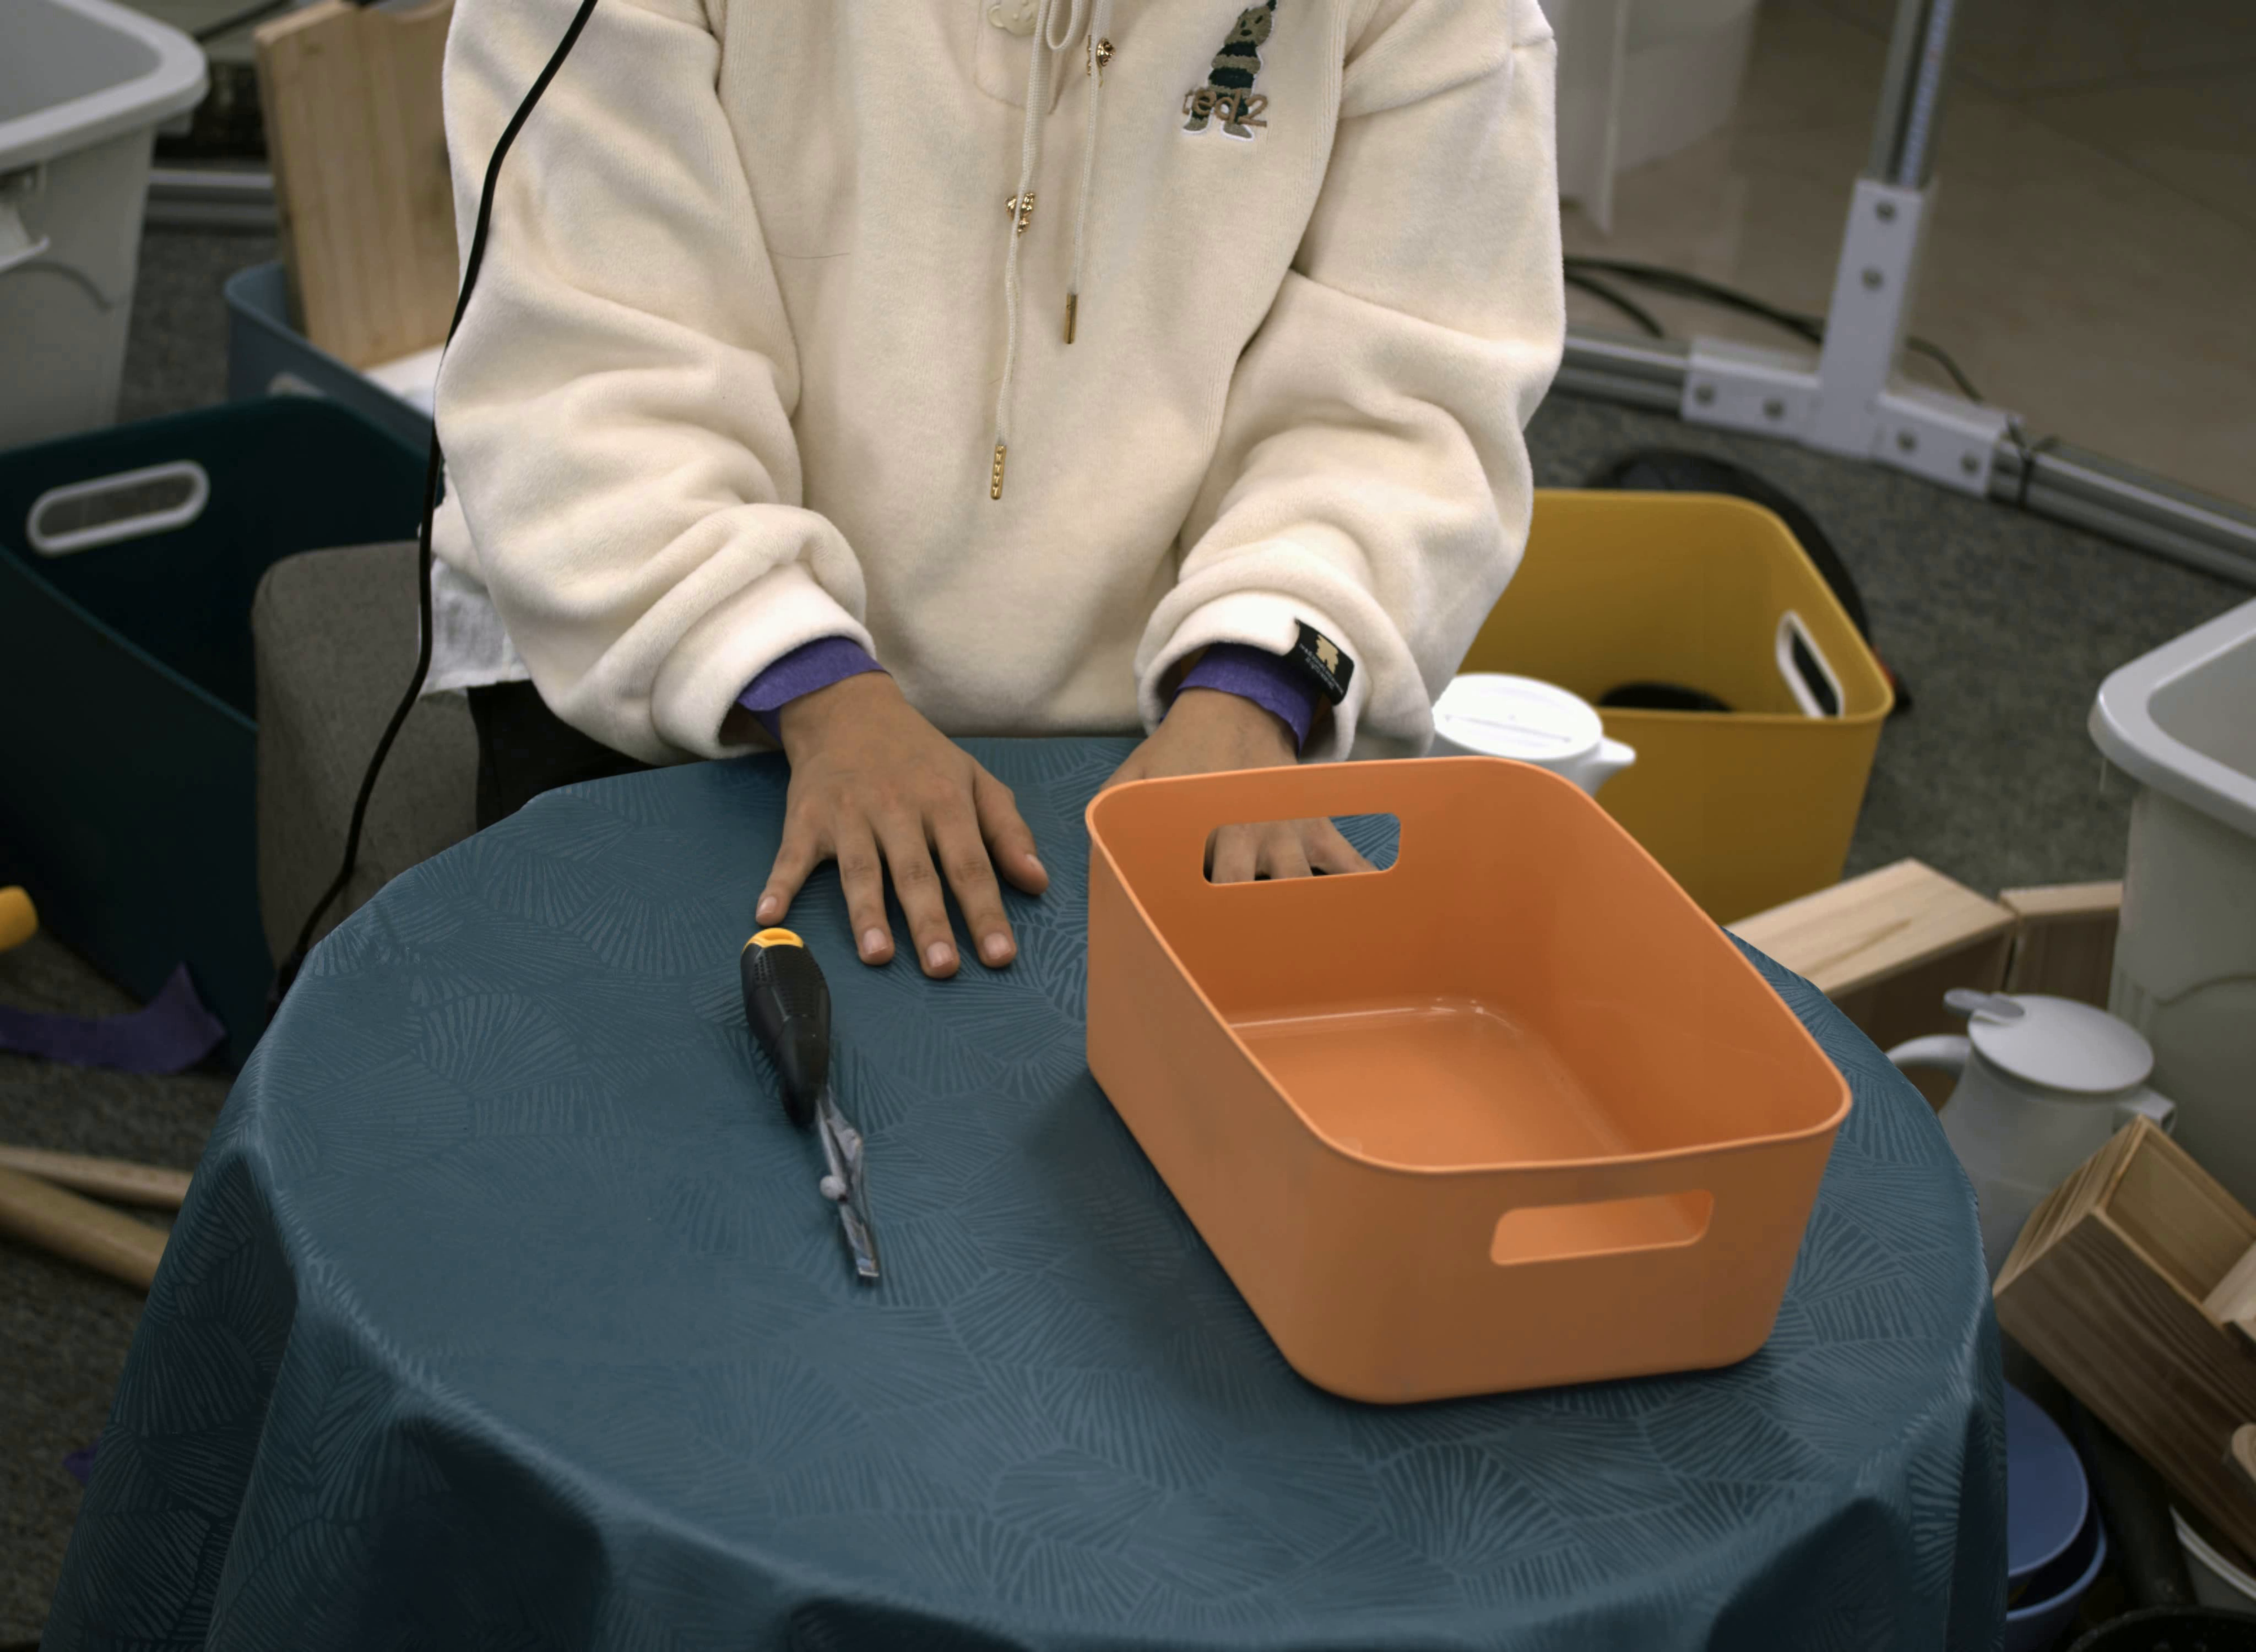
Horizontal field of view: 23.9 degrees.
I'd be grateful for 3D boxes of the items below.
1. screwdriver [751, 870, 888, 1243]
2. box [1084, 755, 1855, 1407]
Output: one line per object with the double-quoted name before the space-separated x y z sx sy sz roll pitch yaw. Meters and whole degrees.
"screwdriver" -0.099 0.079 1.816 0.031 0.031 0.200 -2 37 -17
"box" 0.105 0.084 1.790 0.198 0.102 0.275 -5 29 -20
